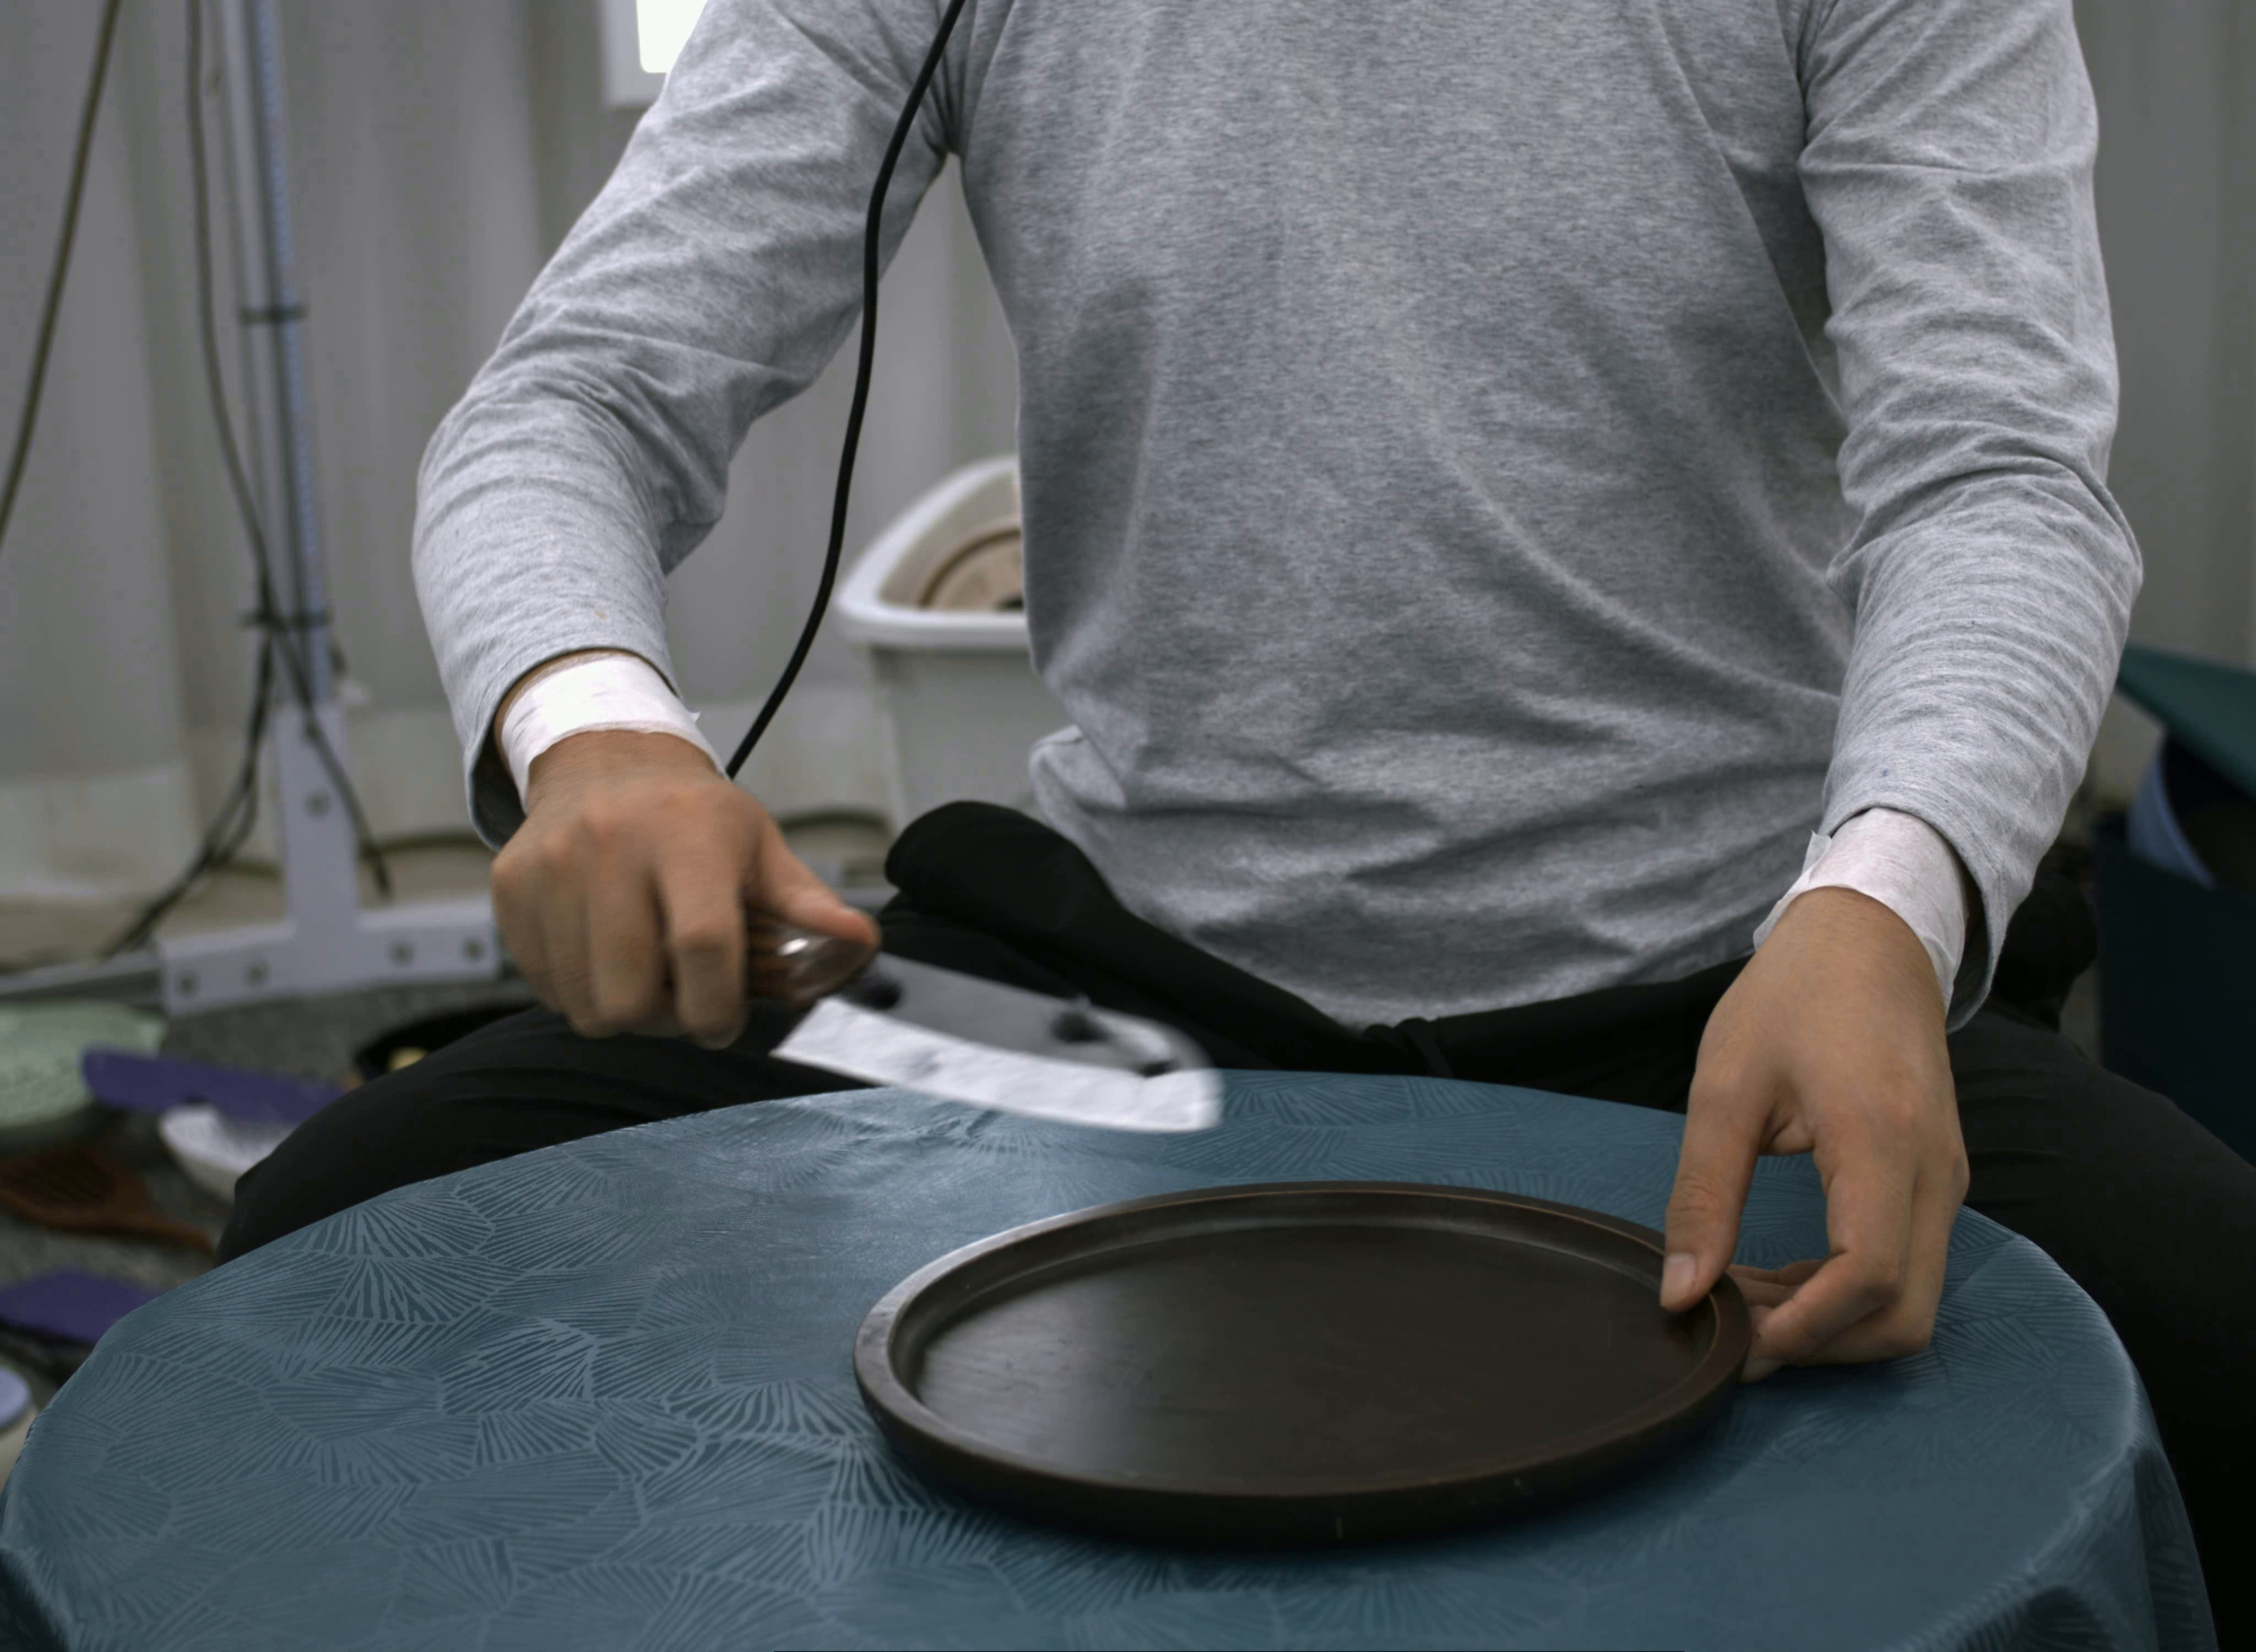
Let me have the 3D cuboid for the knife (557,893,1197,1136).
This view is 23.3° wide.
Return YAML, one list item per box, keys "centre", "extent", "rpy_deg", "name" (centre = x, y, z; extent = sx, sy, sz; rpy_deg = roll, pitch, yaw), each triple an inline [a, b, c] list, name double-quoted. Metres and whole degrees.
- centre: [-0.076, 0.054, 1.572]
  extent: [0.291, 0.020, 0.050]
  rpy_deg: [15, 53, 48]
  name: "knife"

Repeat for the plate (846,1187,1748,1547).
- centre: [0.048, 0.149, 1.532]
  extent: [0.254, 0.029, 0.256]
  rpy_deg: [-4, 13, 1]
  name: "plate"
